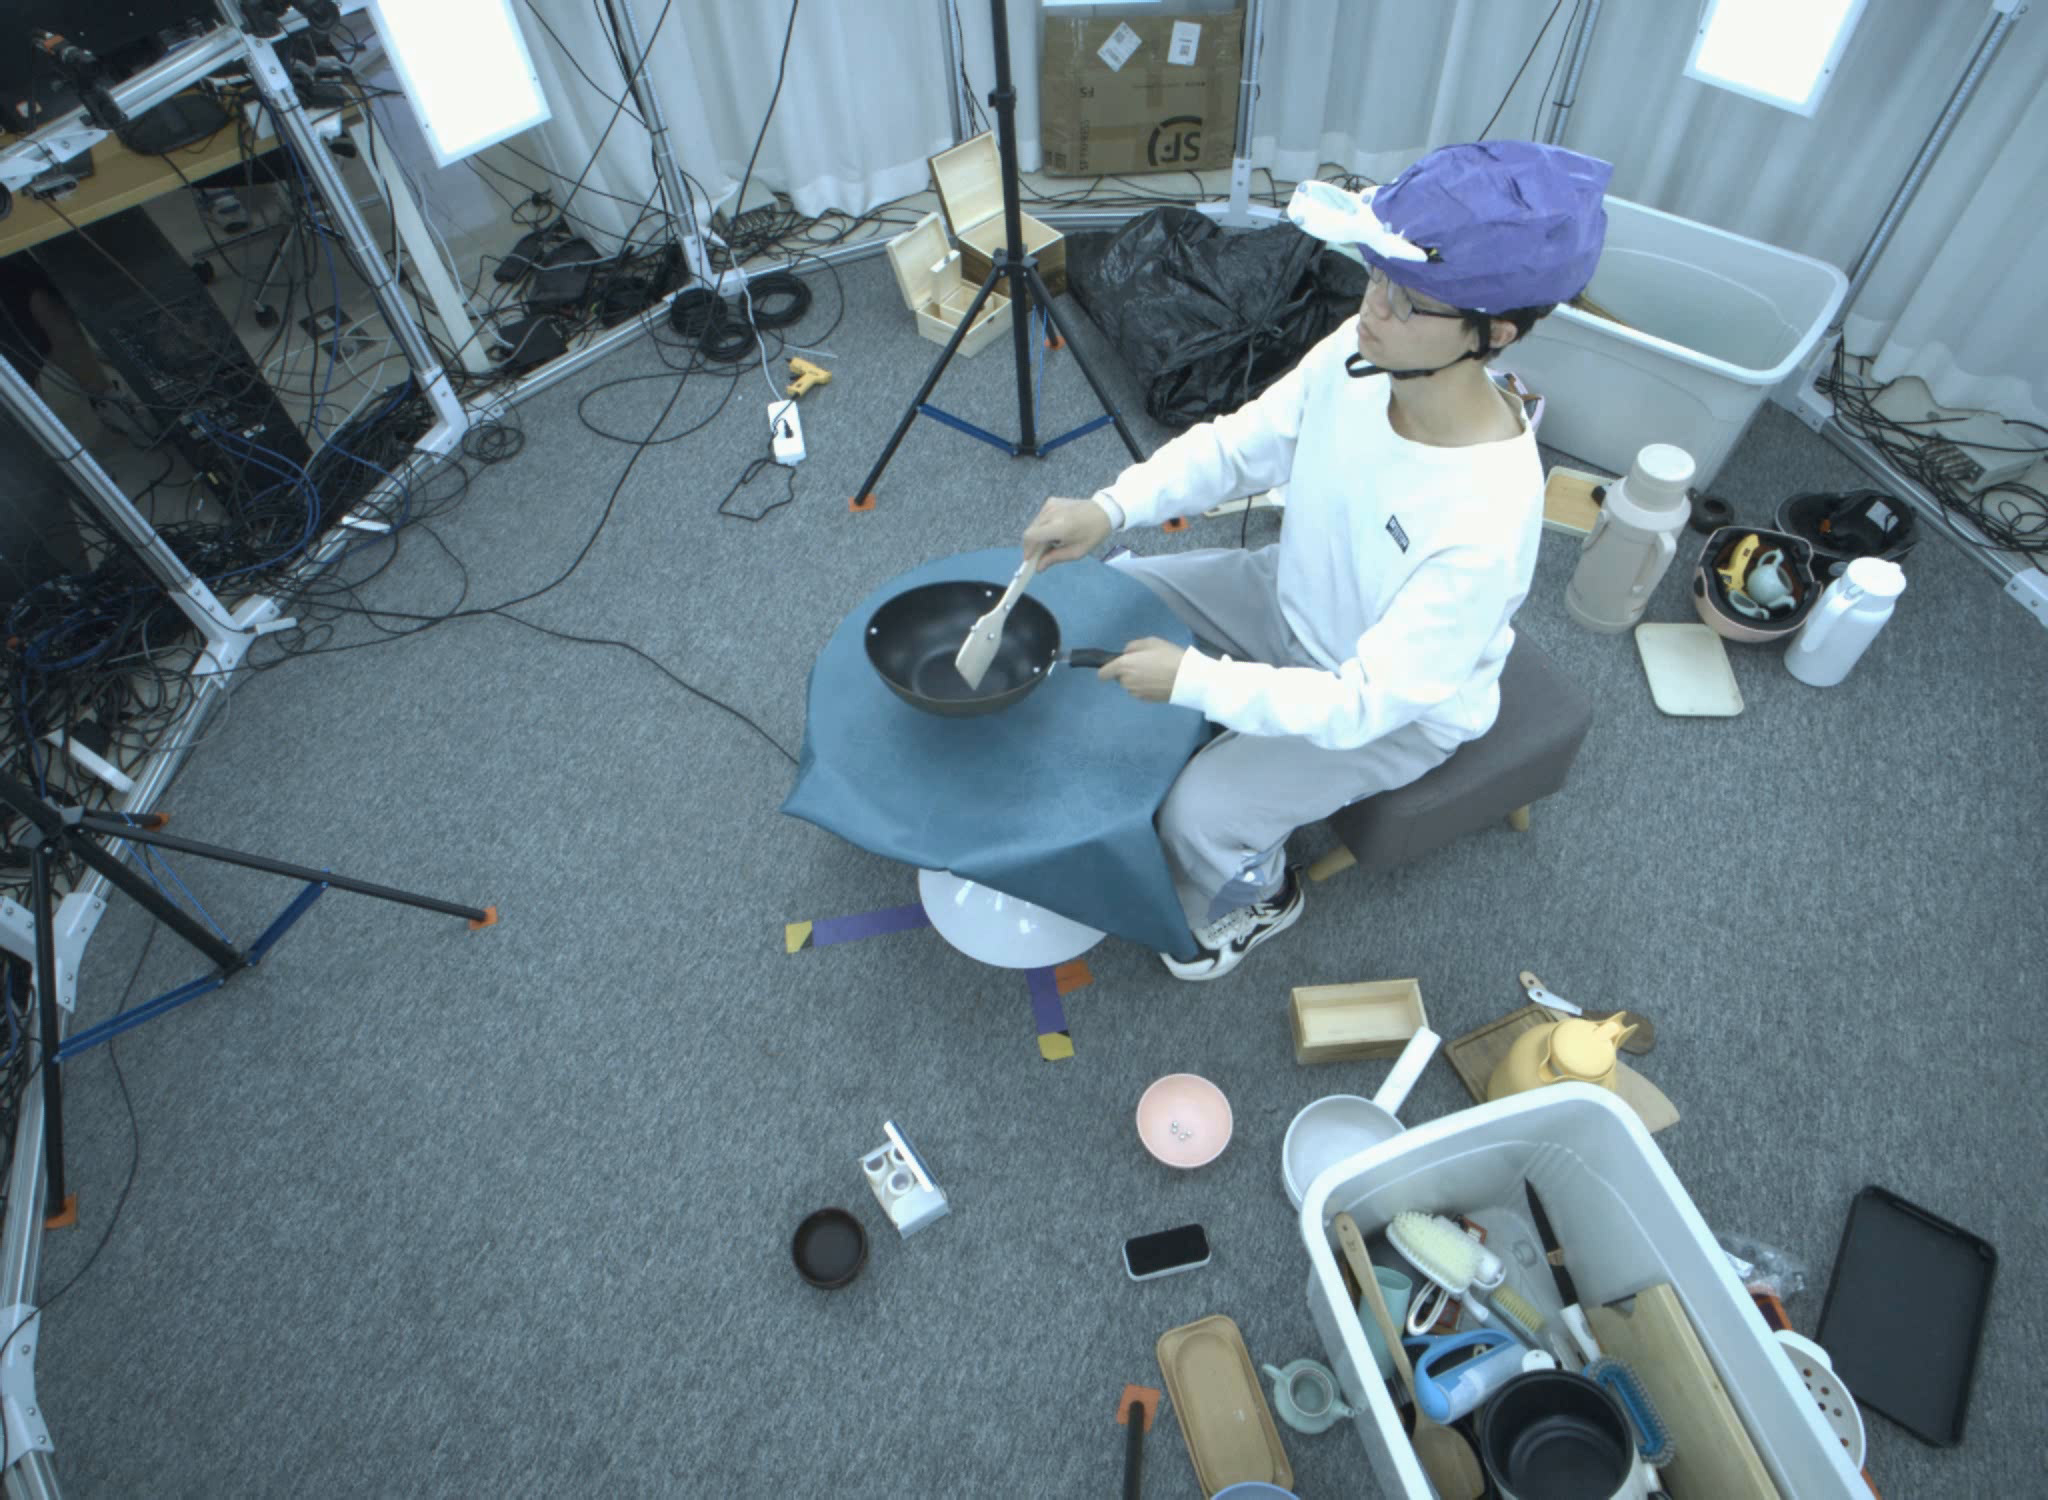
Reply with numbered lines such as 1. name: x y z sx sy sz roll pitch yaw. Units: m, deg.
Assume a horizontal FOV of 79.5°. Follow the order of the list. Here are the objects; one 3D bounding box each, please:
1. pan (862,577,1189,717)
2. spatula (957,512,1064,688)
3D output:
1. pan: 0.000 -0.120 1.739 0.462 0.087 0.286 10 43 5
2. spatula: -0.015 -0.225 1.760 0.010 0.074 0.293 19 70 31
